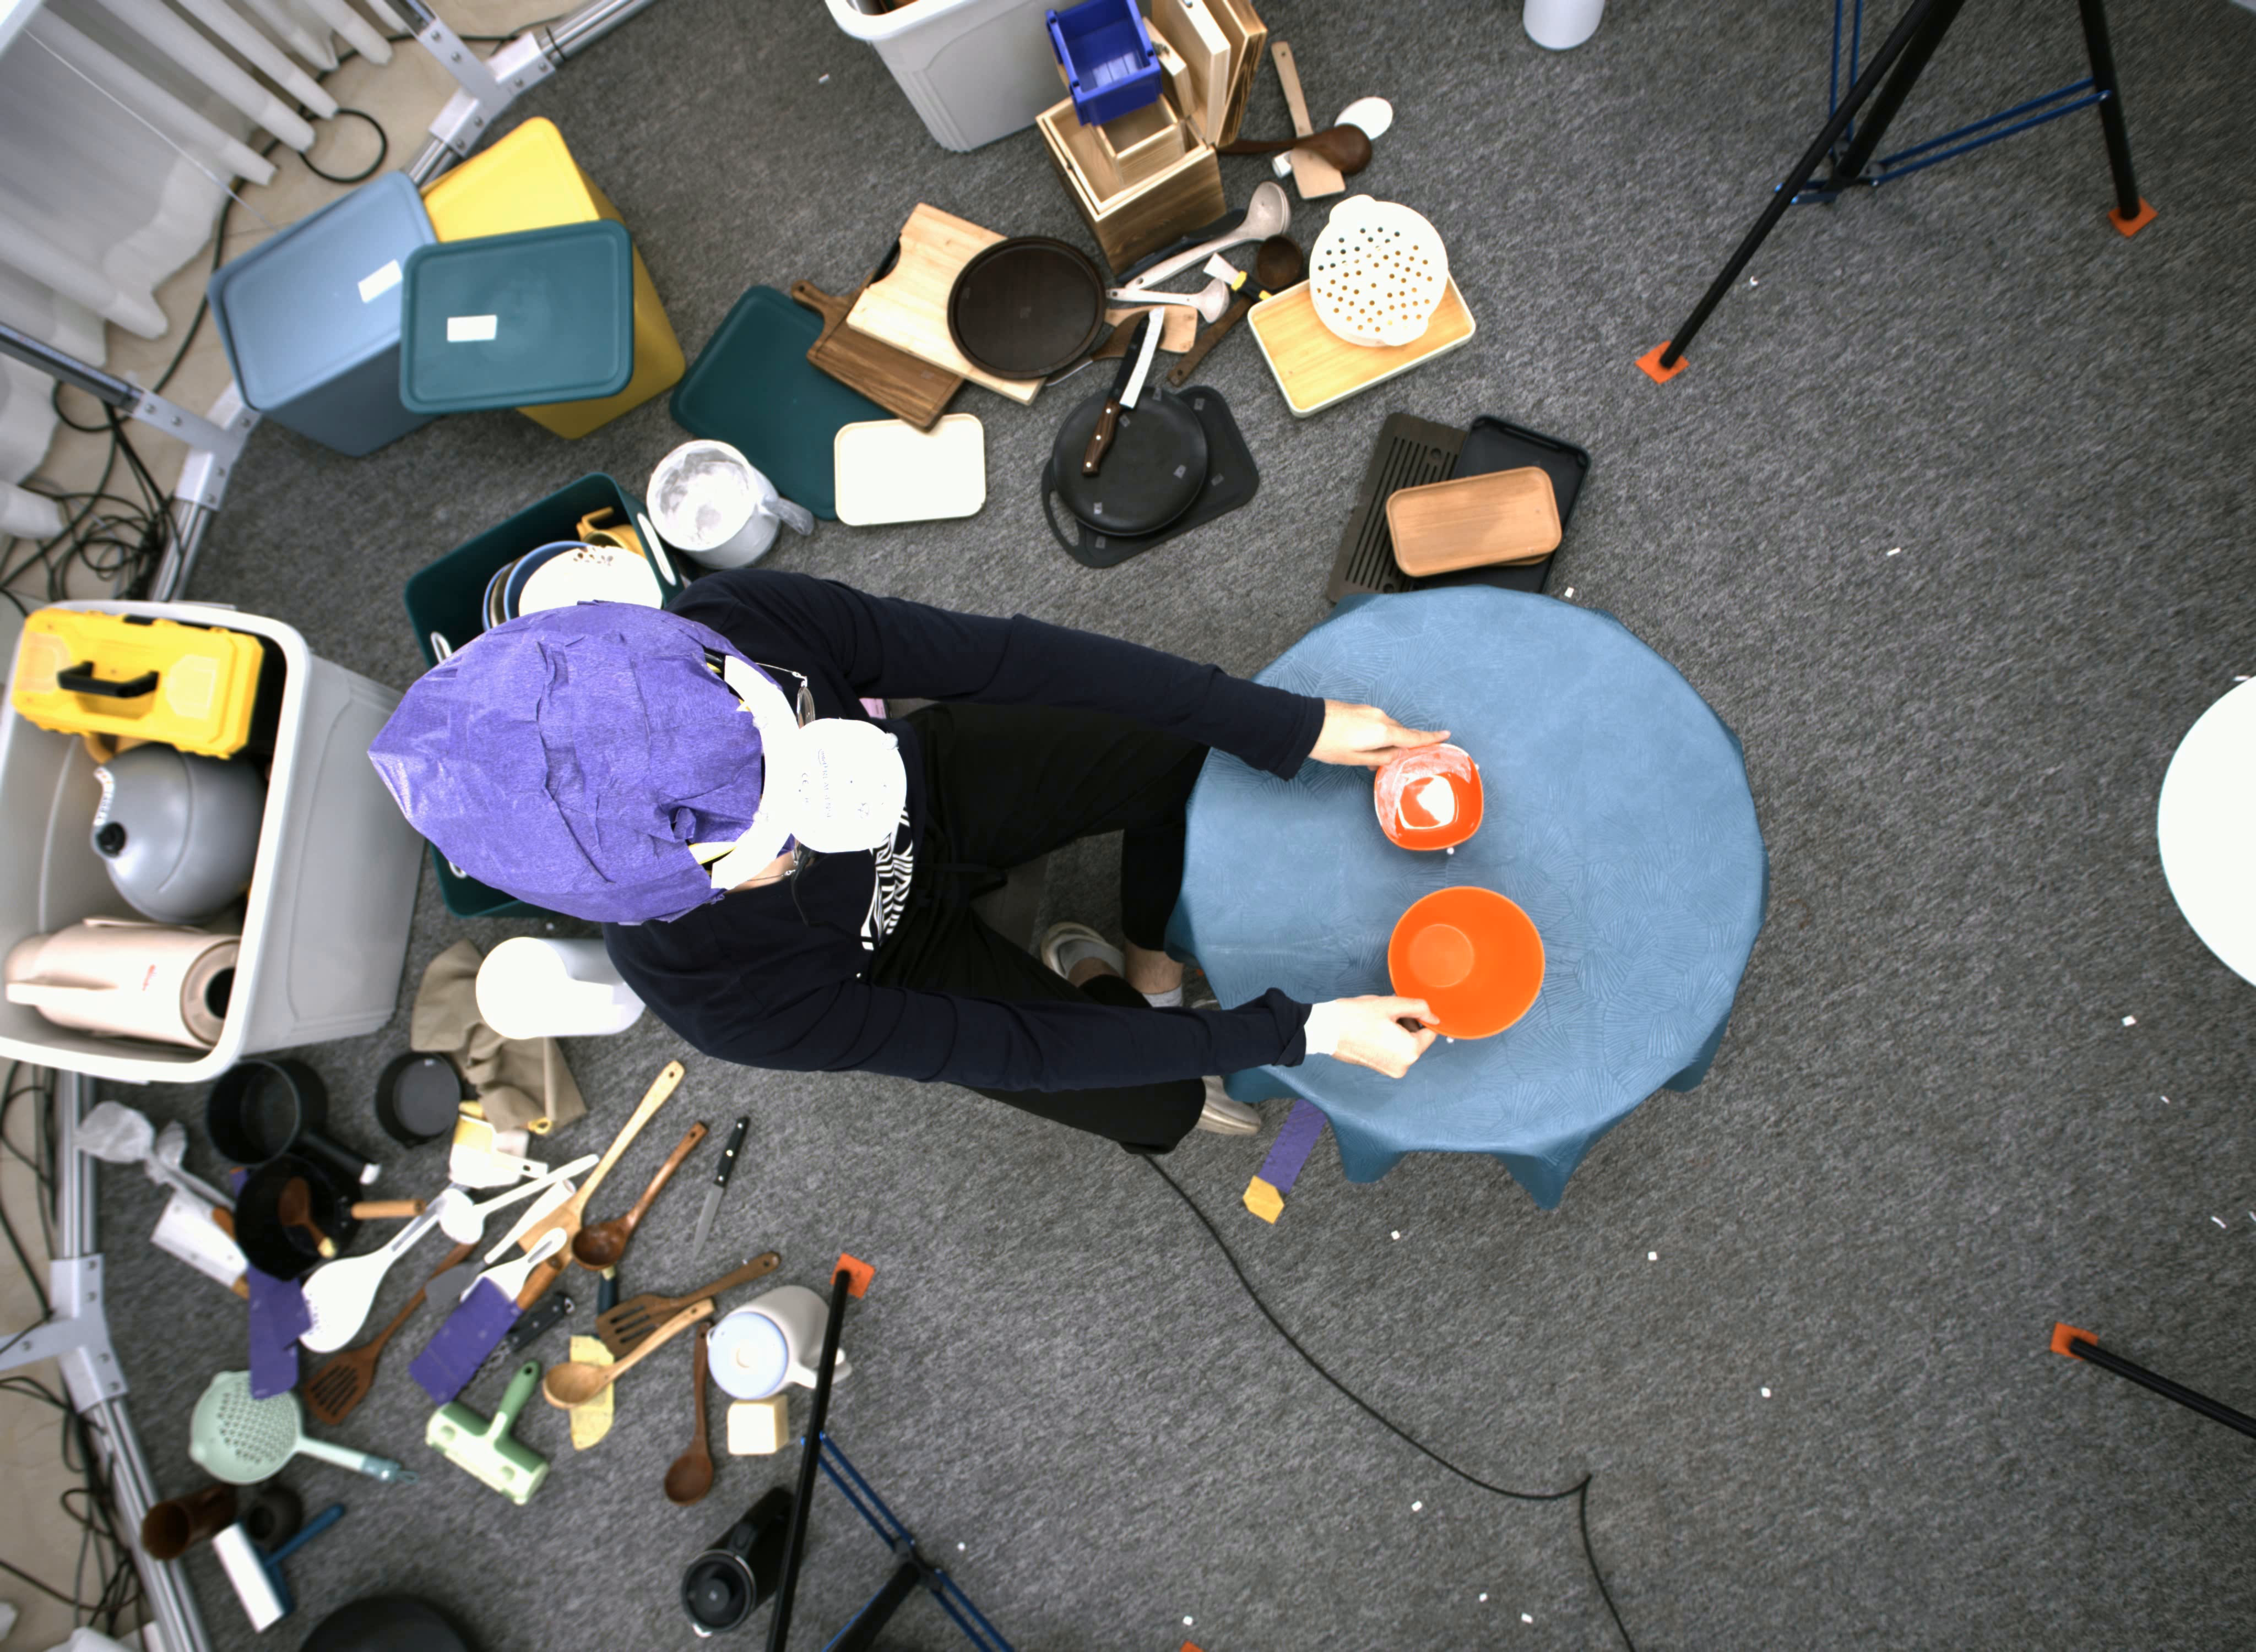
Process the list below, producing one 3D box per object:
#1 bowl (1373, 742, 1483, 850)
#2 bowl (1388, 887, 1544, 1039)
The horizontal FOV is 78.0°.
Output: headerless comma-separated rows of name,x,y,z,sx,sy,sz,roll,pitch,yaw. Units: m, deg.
bowl,0.311,-0.030,1.432,0.119,0.051,0.118,-1,88,11
bowl,0.332,0.133,1.382,0.148,0.104,0.148,0,90,7
